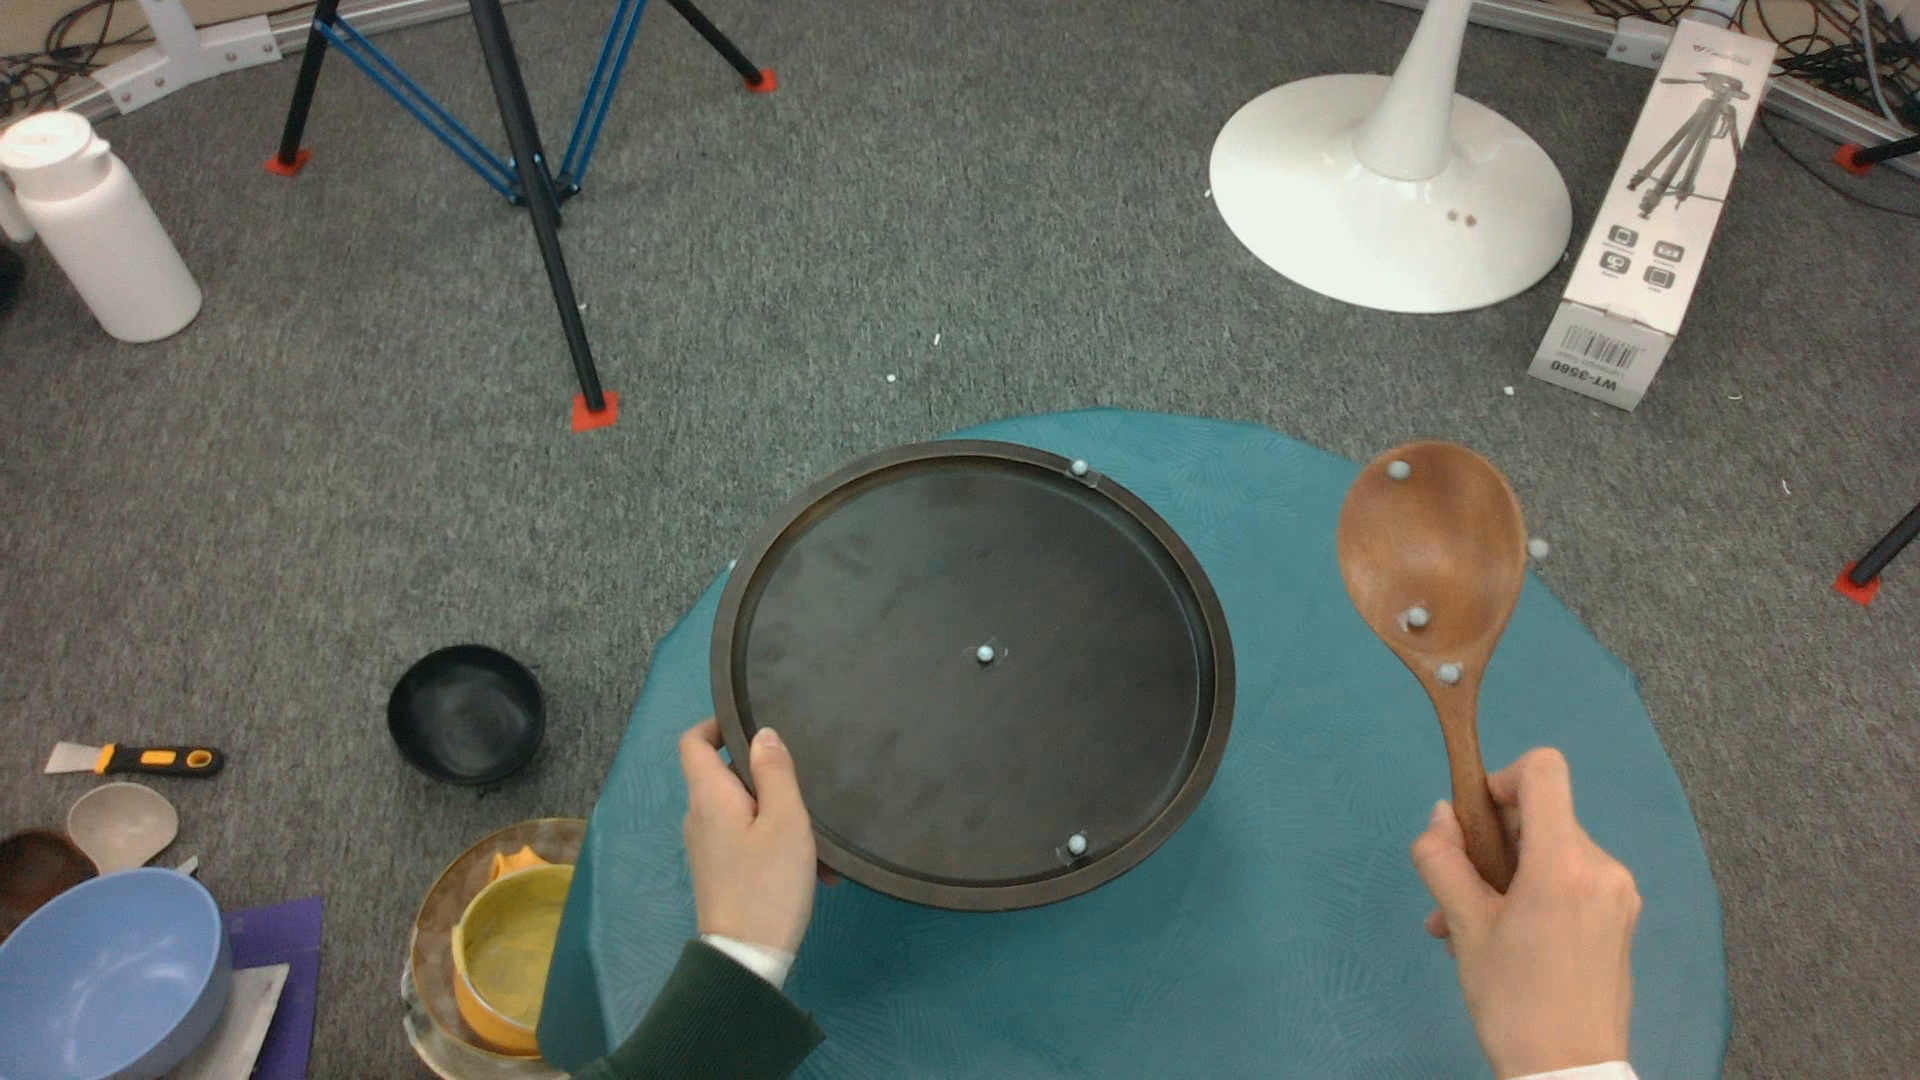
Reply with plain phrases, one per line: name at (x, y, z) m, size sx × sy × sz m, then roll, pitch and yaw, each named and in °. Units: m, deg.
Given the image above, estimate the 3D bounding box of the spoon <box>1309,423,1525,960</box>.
spoon at (0.192, 0.058, 0.554) m, size 0.075 × 0.017 × 0.216 m, roll -14°, pitch 78°, yaw 27°

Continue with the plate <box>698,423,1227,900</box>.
plate at (0.002, 0.051, 0.666) m, size 0.255 × 0.029 × 0.256 m, roll 3°, pitch 57°, yaw -4°
